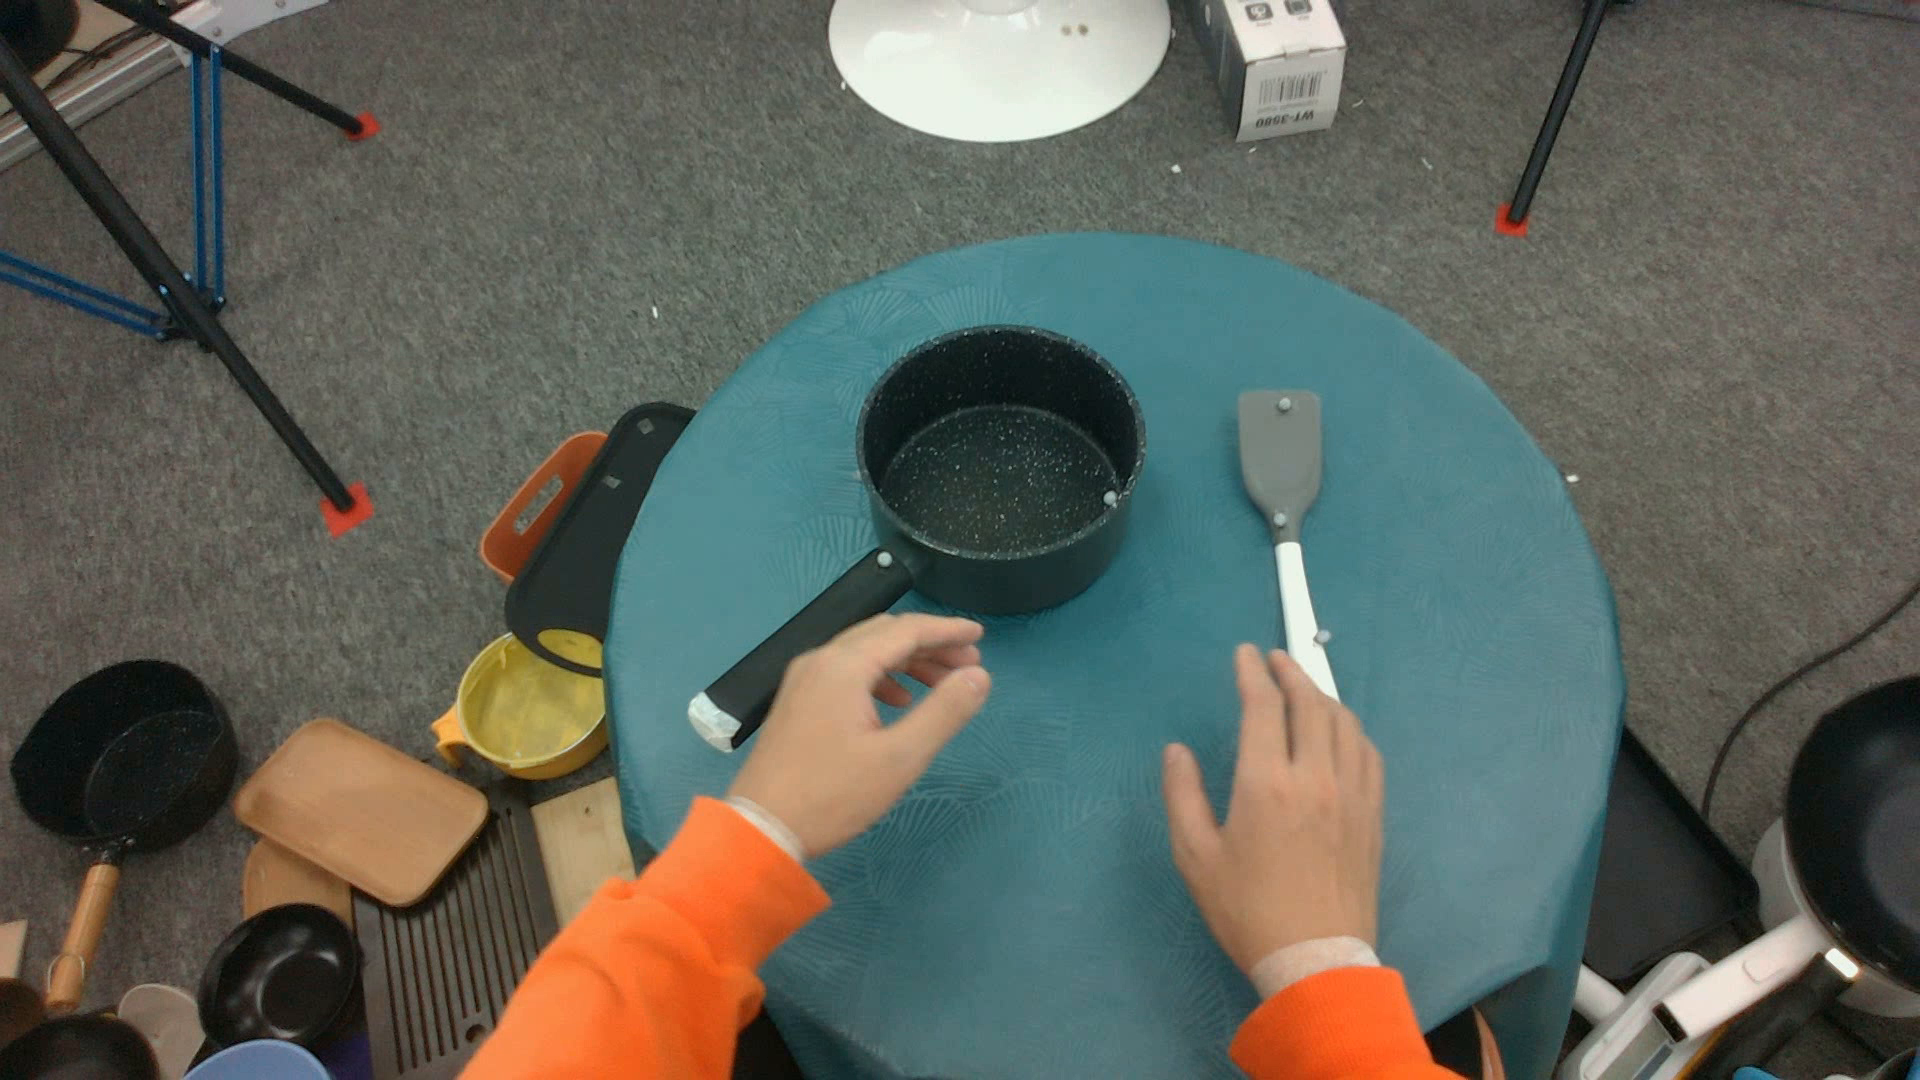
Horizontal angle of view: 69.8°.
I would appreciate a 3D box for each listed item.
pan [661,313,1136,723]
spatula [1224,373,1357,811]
[{"bbox_3d":[-0.034,0.001,0.800,0.172,0.086,0.330,35,63,23],"label":"pan"},{"bbox_3d":[0.196,0.019,0.814,0.058,0.032,0.289,-3,57,5],"label":"spatula"}]
